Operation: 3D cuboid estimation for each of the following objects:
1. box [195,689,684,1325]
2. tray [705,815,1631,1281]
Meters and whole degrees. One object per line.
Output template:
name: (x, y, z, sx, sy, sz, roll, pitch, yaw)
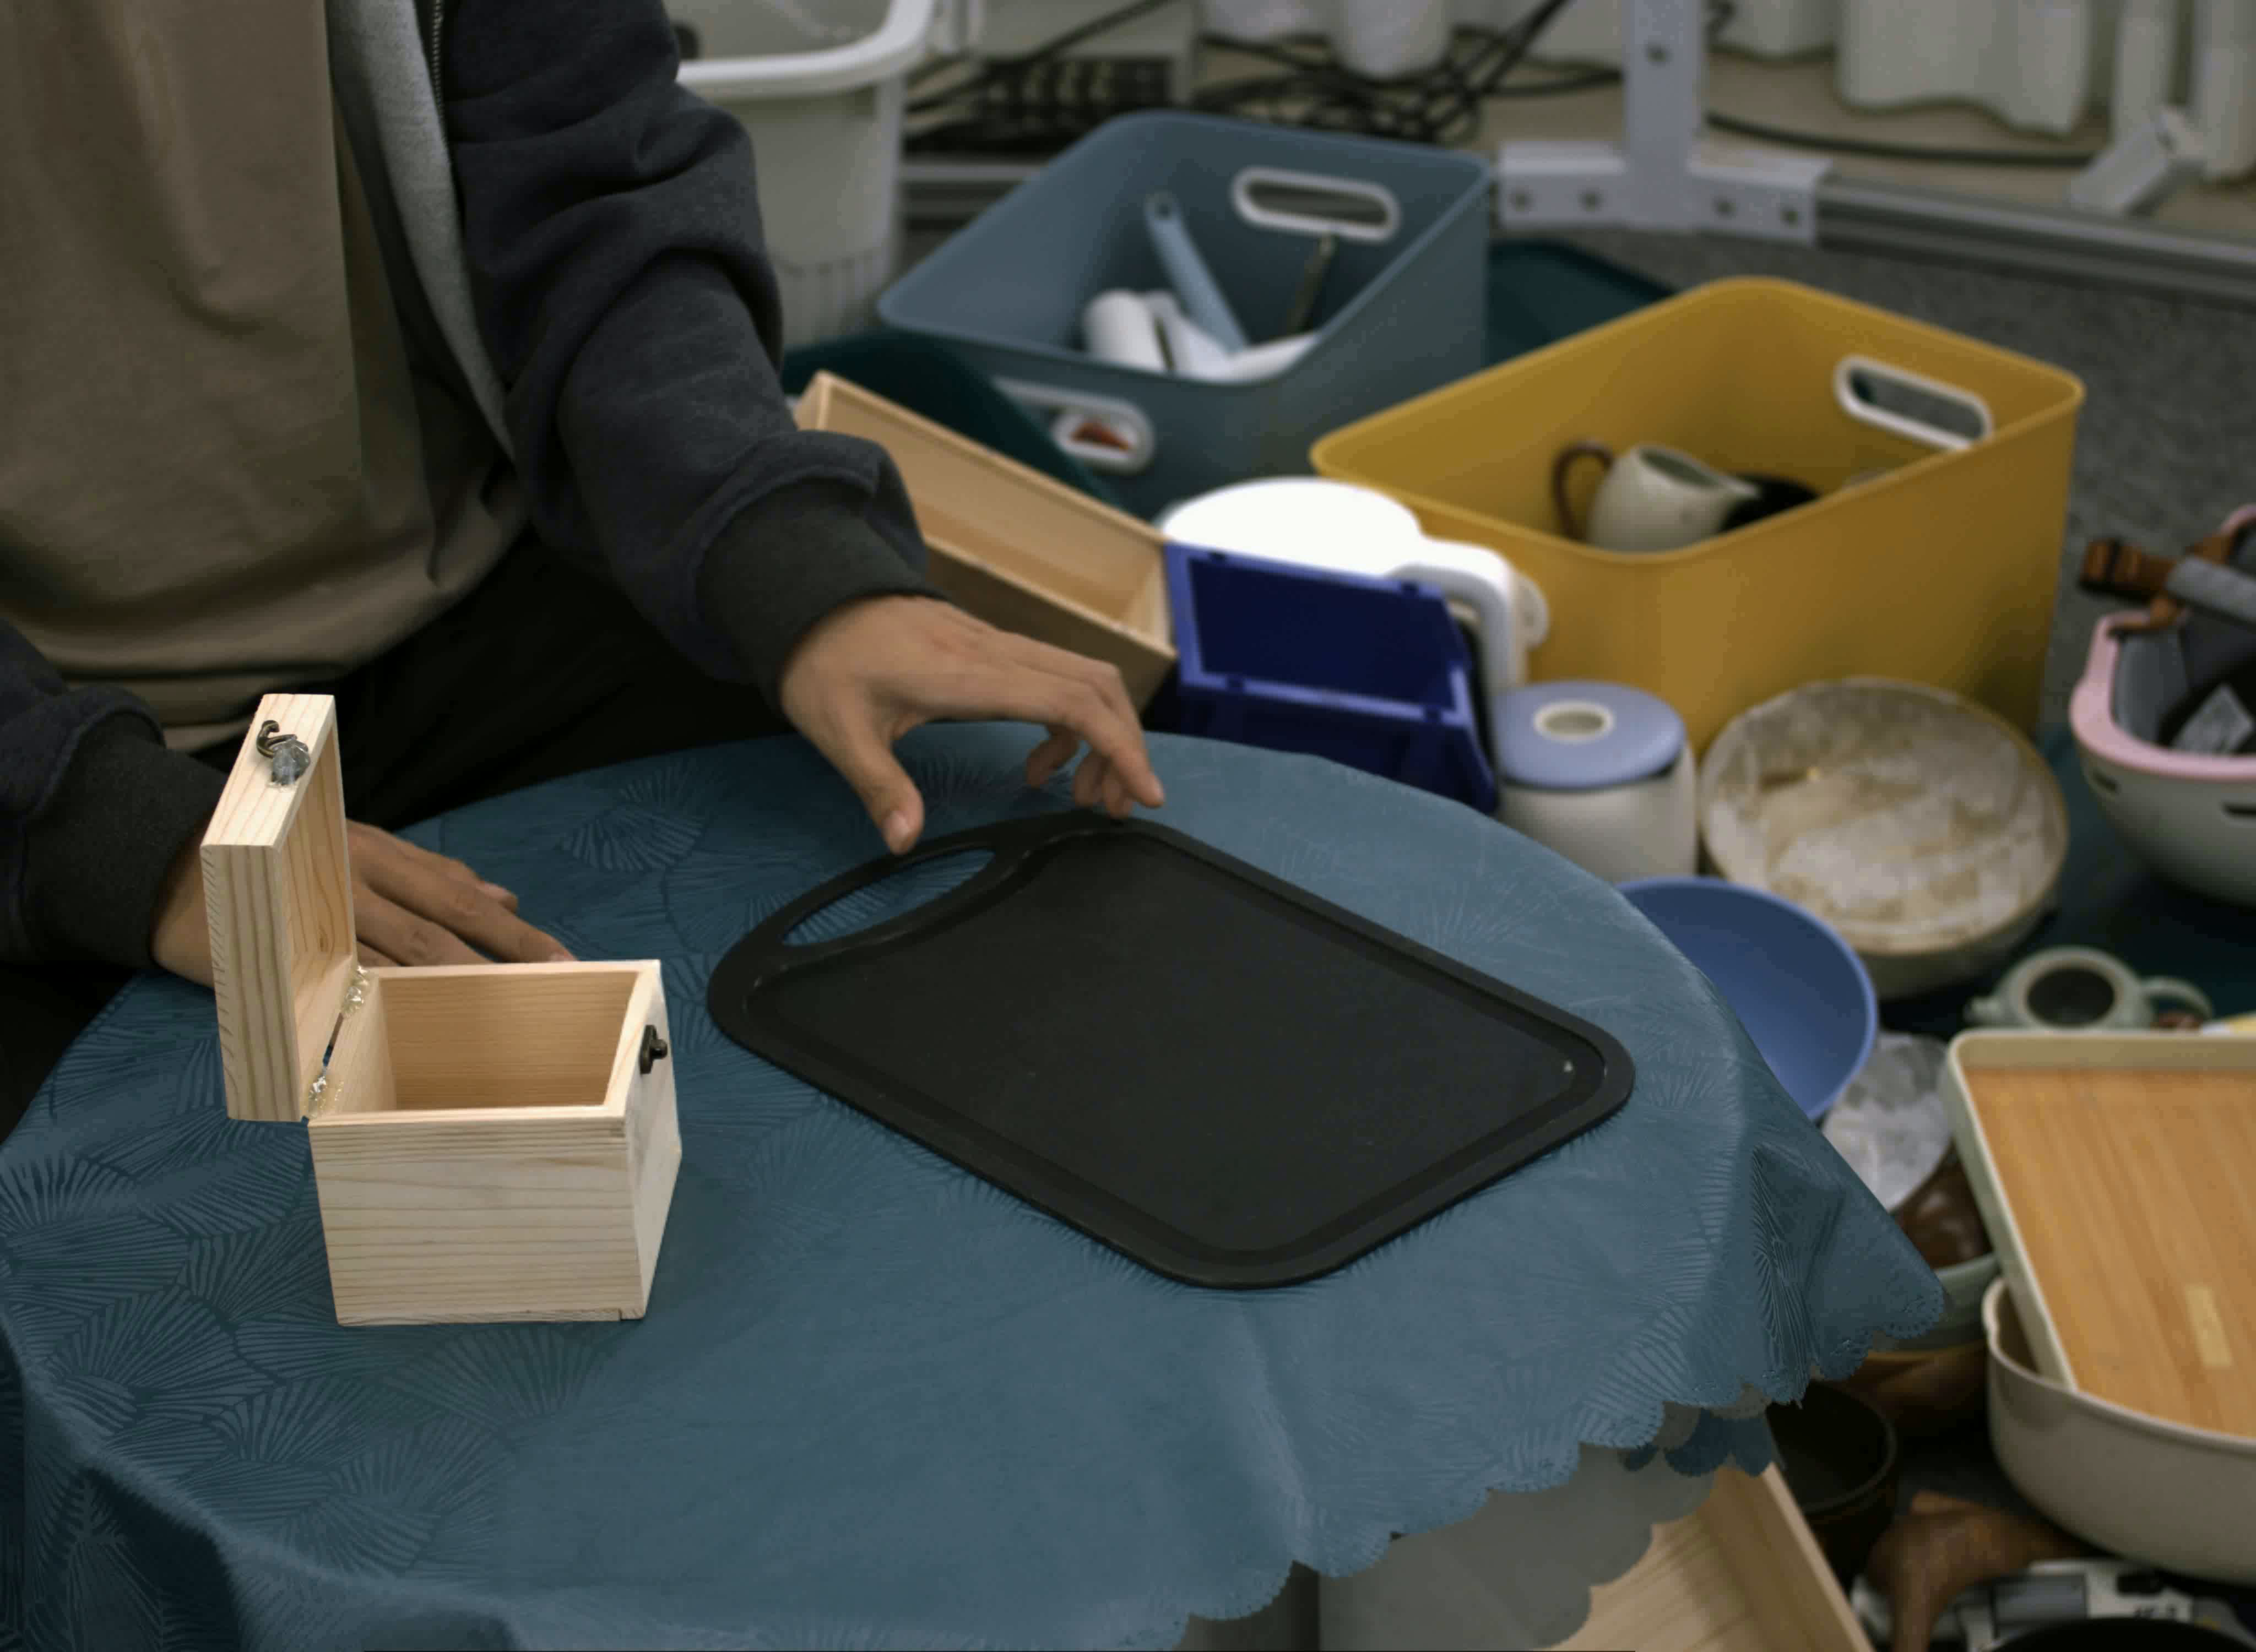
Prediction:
box: (-0.217, 0.057, 1.811, 0.133, 0.182, 0.104, -3, 27, 4)
tray: (0.004, 0.068, 1.957, 0.213, 0.009, 0.325, -24, 34, -35)
